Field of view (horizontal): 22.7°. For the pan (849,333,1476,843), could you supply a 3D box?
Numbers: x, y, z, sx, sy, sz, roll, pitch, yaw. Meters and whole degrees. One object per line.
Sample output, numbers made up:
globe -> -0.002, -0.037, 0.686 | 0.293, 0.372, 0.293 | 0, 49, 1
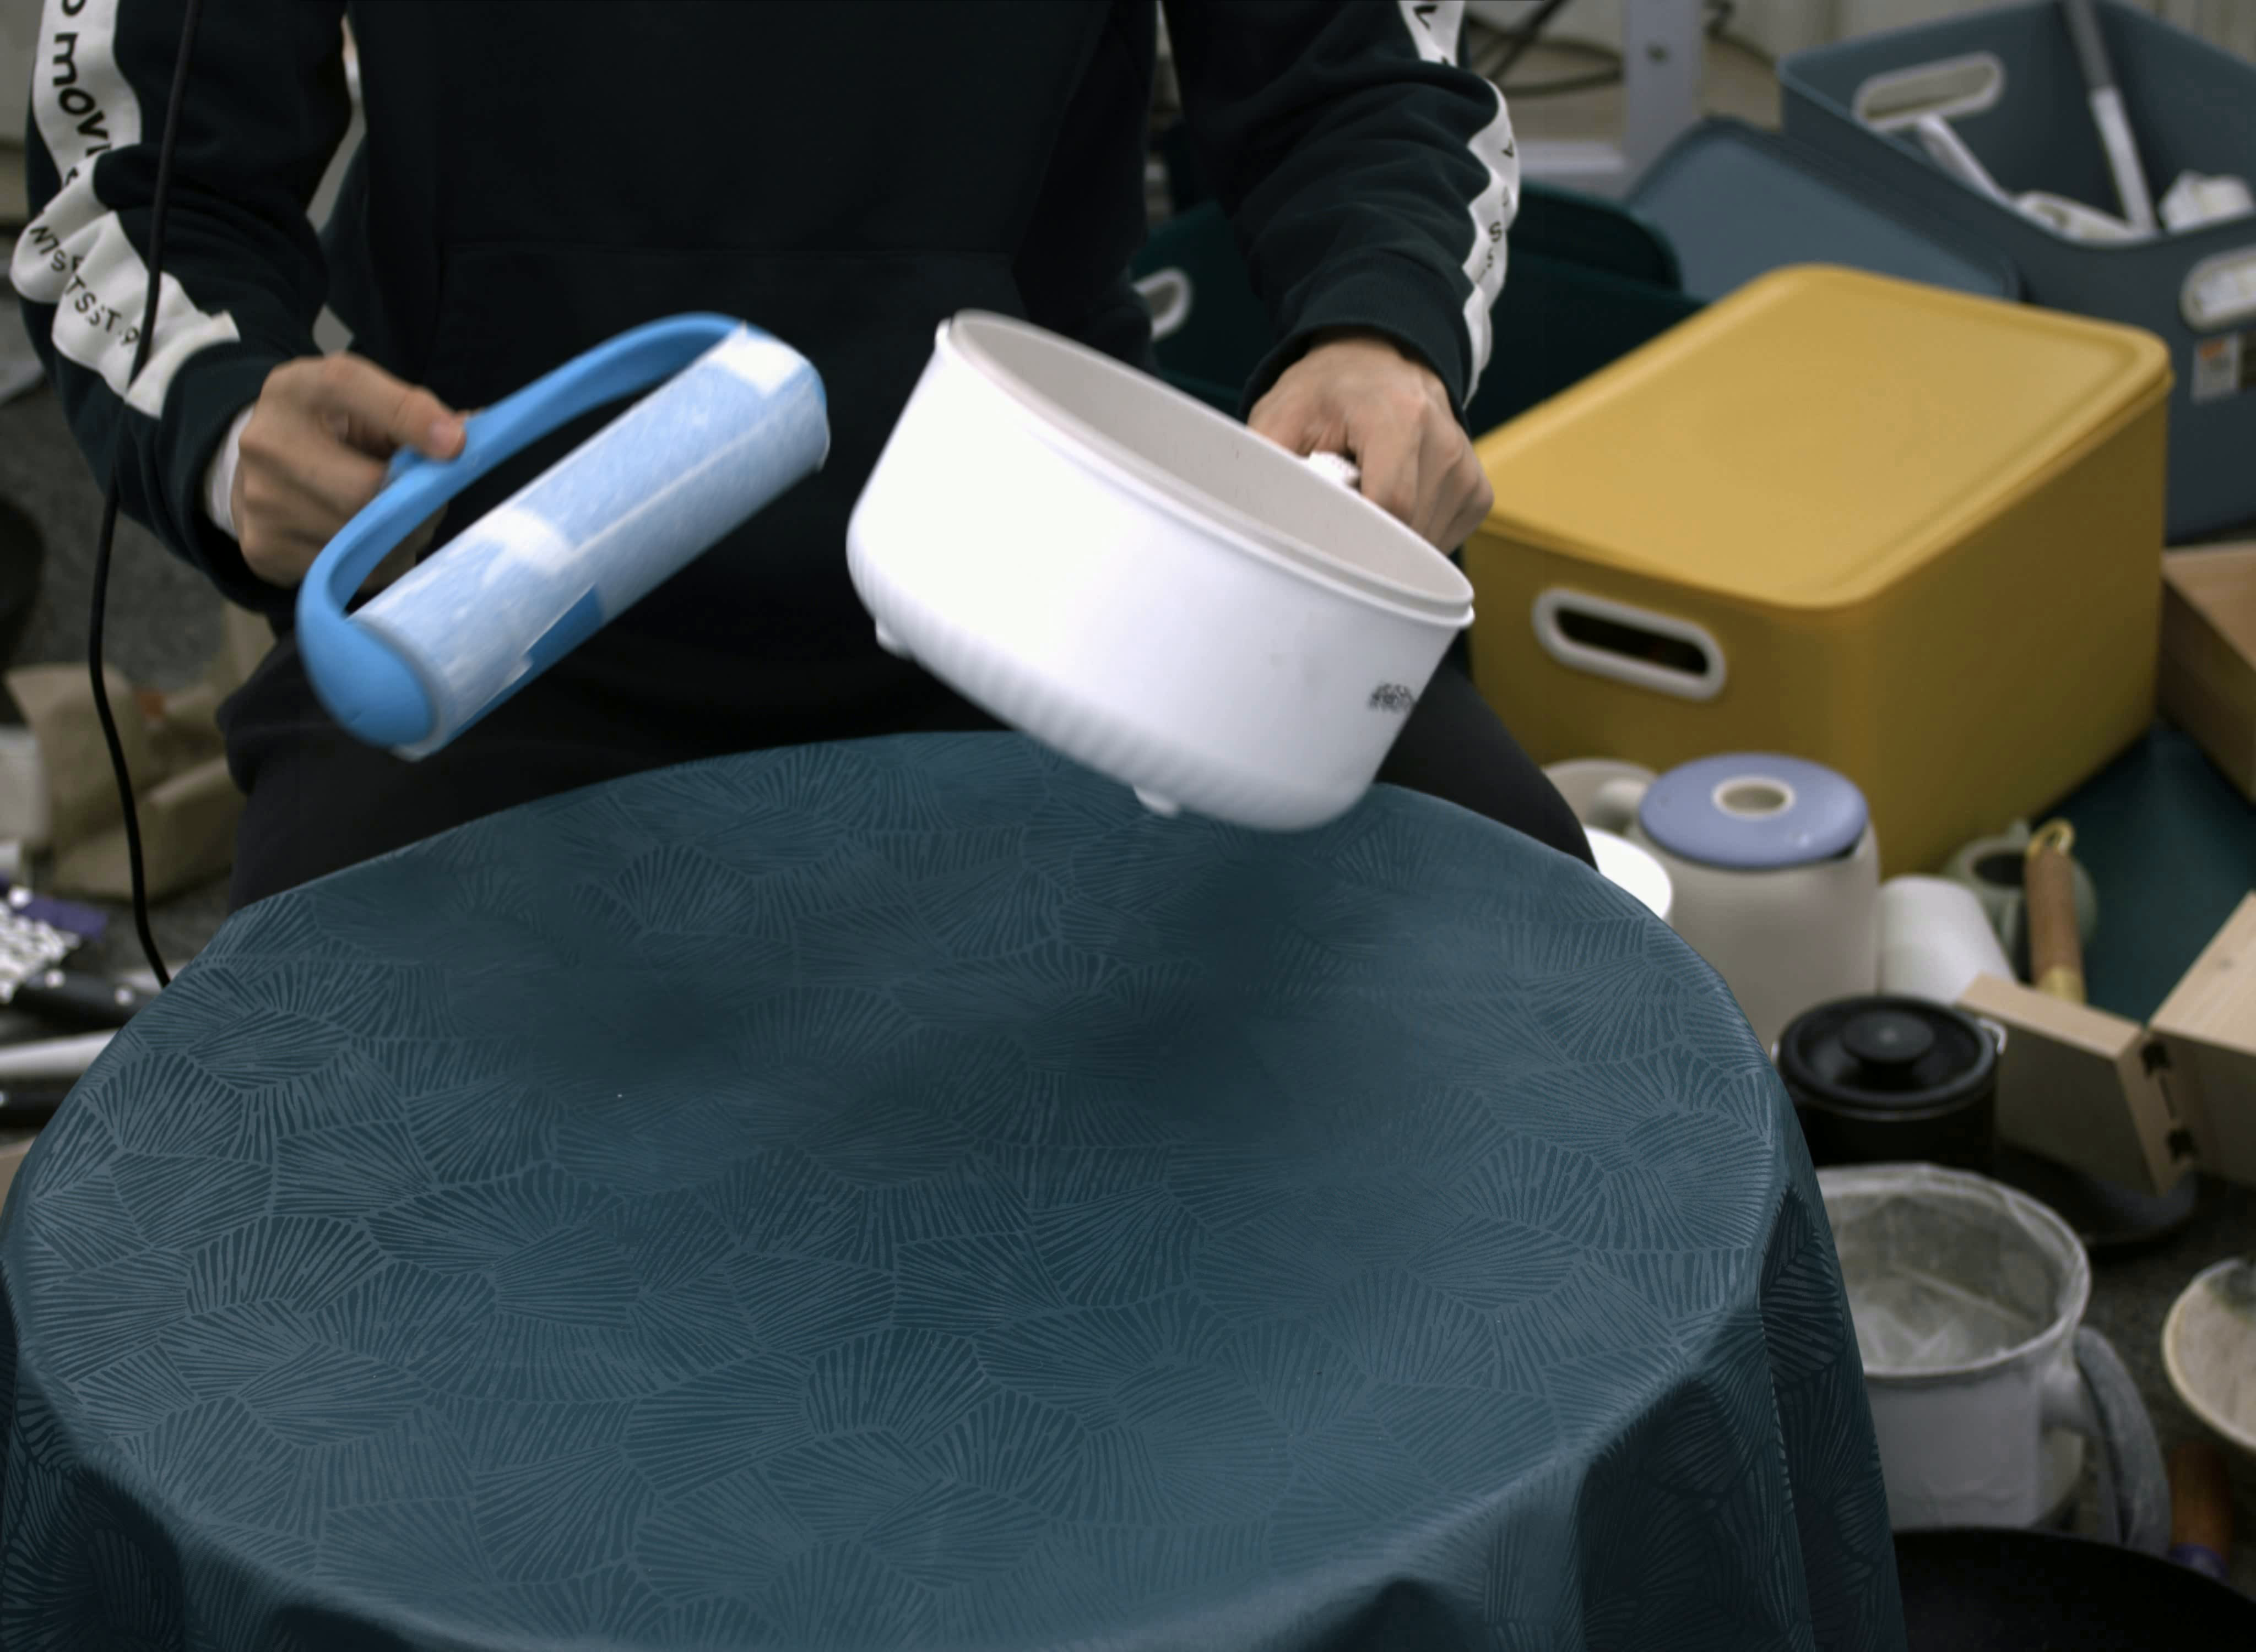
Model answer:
pan -> 0.030, -0.077, 1.937 | 0.201, 0.101, 0.356 | 30, 11, 14

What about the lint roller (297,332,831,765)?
lint roller -> -0.226, -0.097, 1.925 | 0.179, 0.067, 0.233 | 6, 36, 40
